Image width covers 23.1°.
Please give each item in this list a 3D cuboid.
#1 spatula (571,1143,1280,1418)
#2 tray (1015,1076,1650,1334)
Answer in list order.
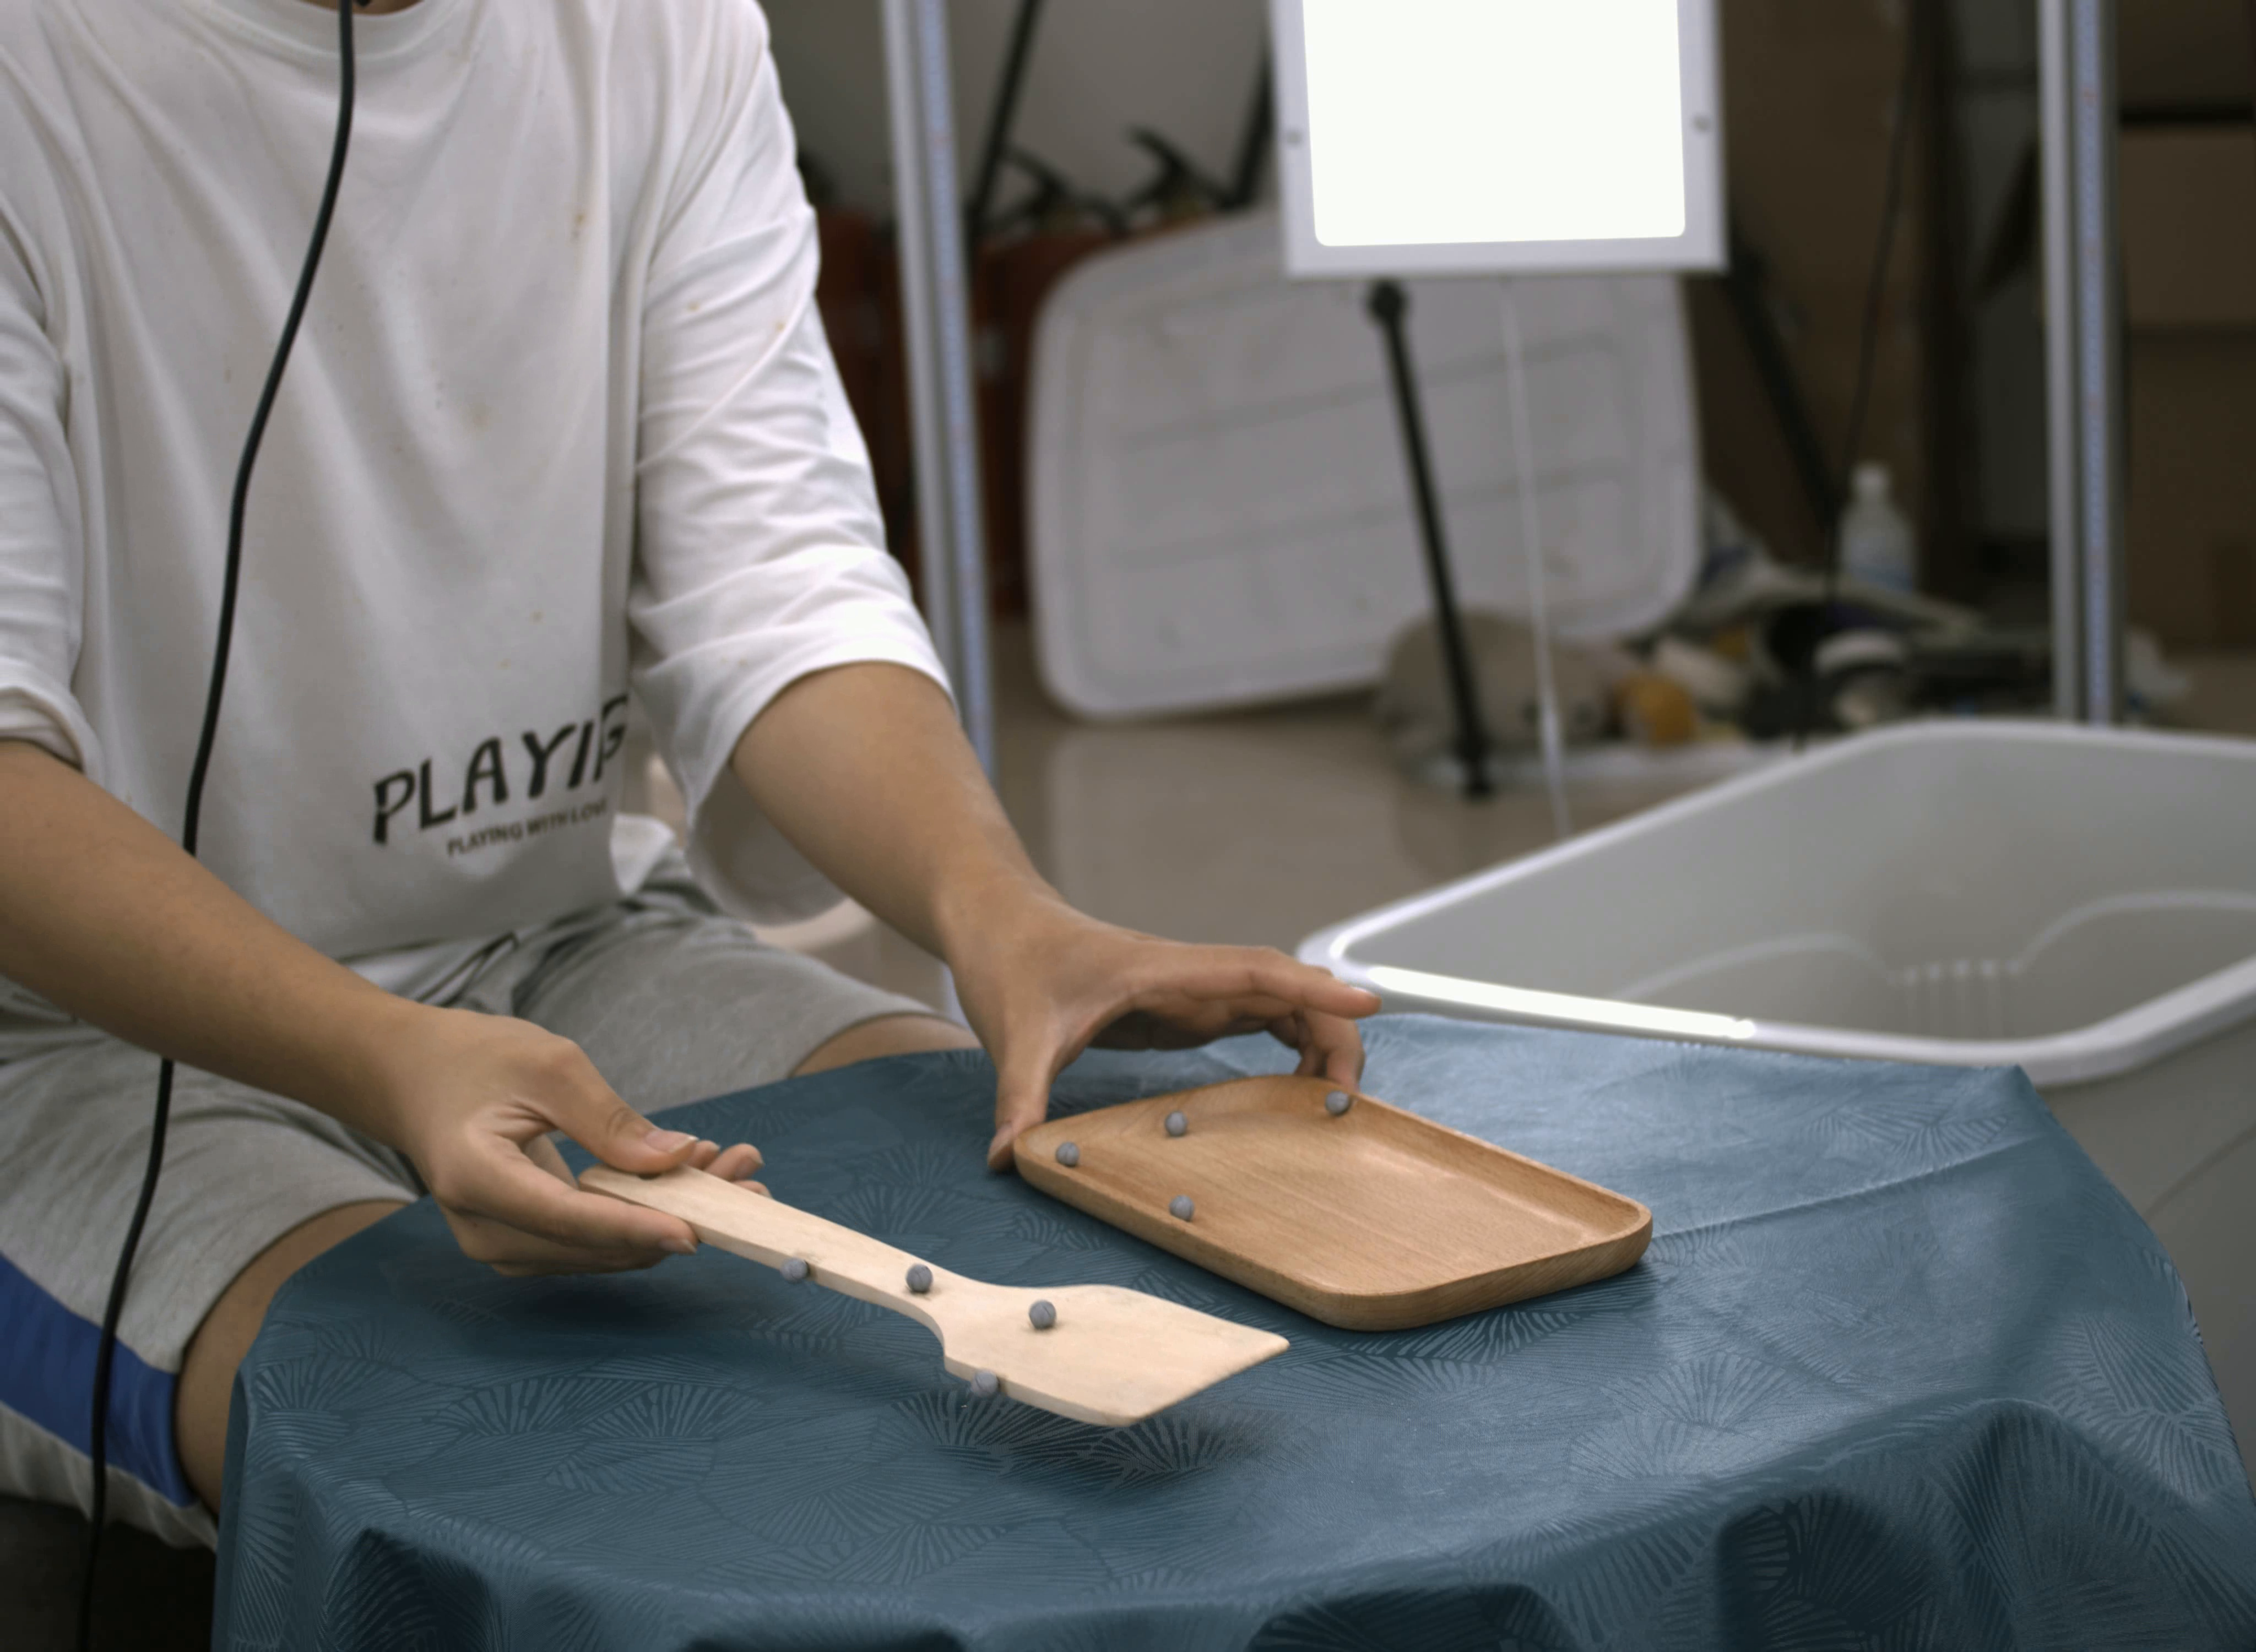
[{"bbox_3d":[-0.078,0.138,1.728,0.070,0.011,0.299,-22,25,-39],"label":"spatula"},{"bbox_3d":[0.066,0.125,1.849,0.128,0.023,0.255,-14,16,-24],"label":"tray"}]
